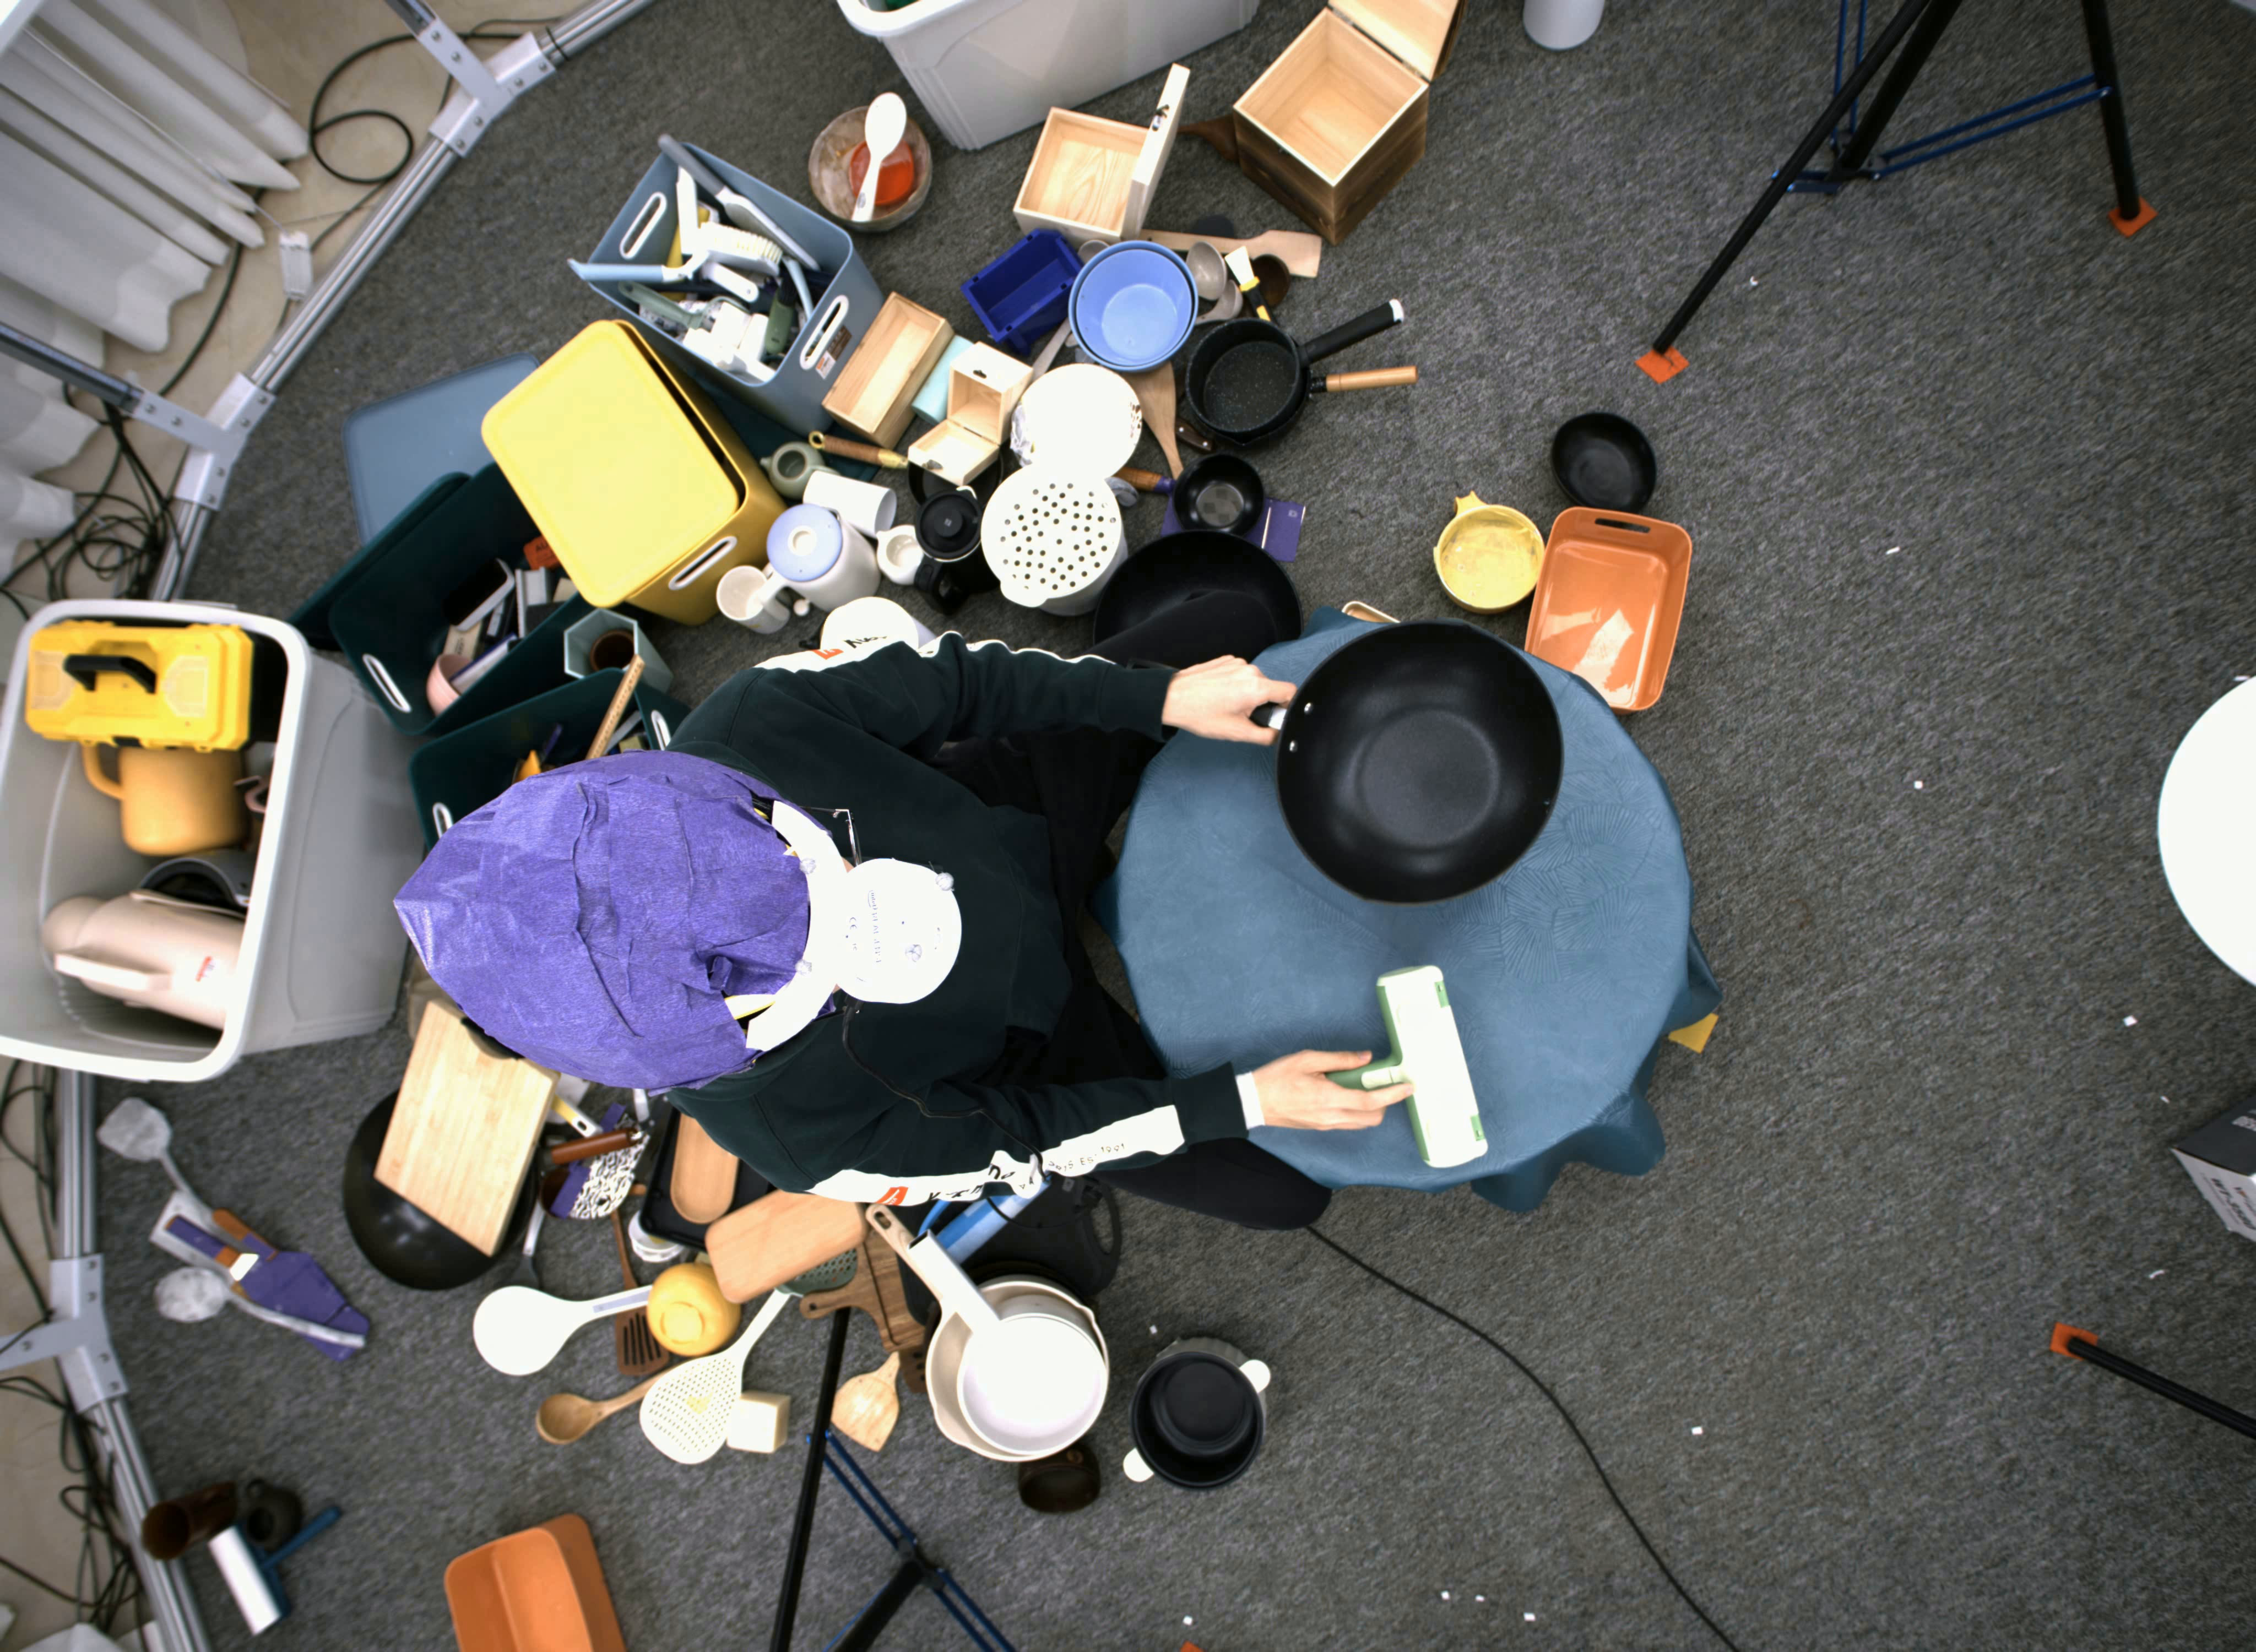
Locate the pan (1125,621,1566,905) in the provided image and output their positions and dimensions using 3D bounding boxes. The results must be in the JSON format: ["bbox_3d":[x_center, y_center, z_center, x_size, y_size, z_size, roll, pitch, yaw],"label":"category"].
[{"bbox_3d":[0.207,-0.083,1.379,0.463,0.087,0.287,20,86,24],"label":"pan"}]

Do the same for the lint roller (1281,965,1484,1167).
[{"bbox_3d":[0.241,0.250,1.371,0.184,0.082,0.199,-15,92,8],"label":"lint roller"}]
